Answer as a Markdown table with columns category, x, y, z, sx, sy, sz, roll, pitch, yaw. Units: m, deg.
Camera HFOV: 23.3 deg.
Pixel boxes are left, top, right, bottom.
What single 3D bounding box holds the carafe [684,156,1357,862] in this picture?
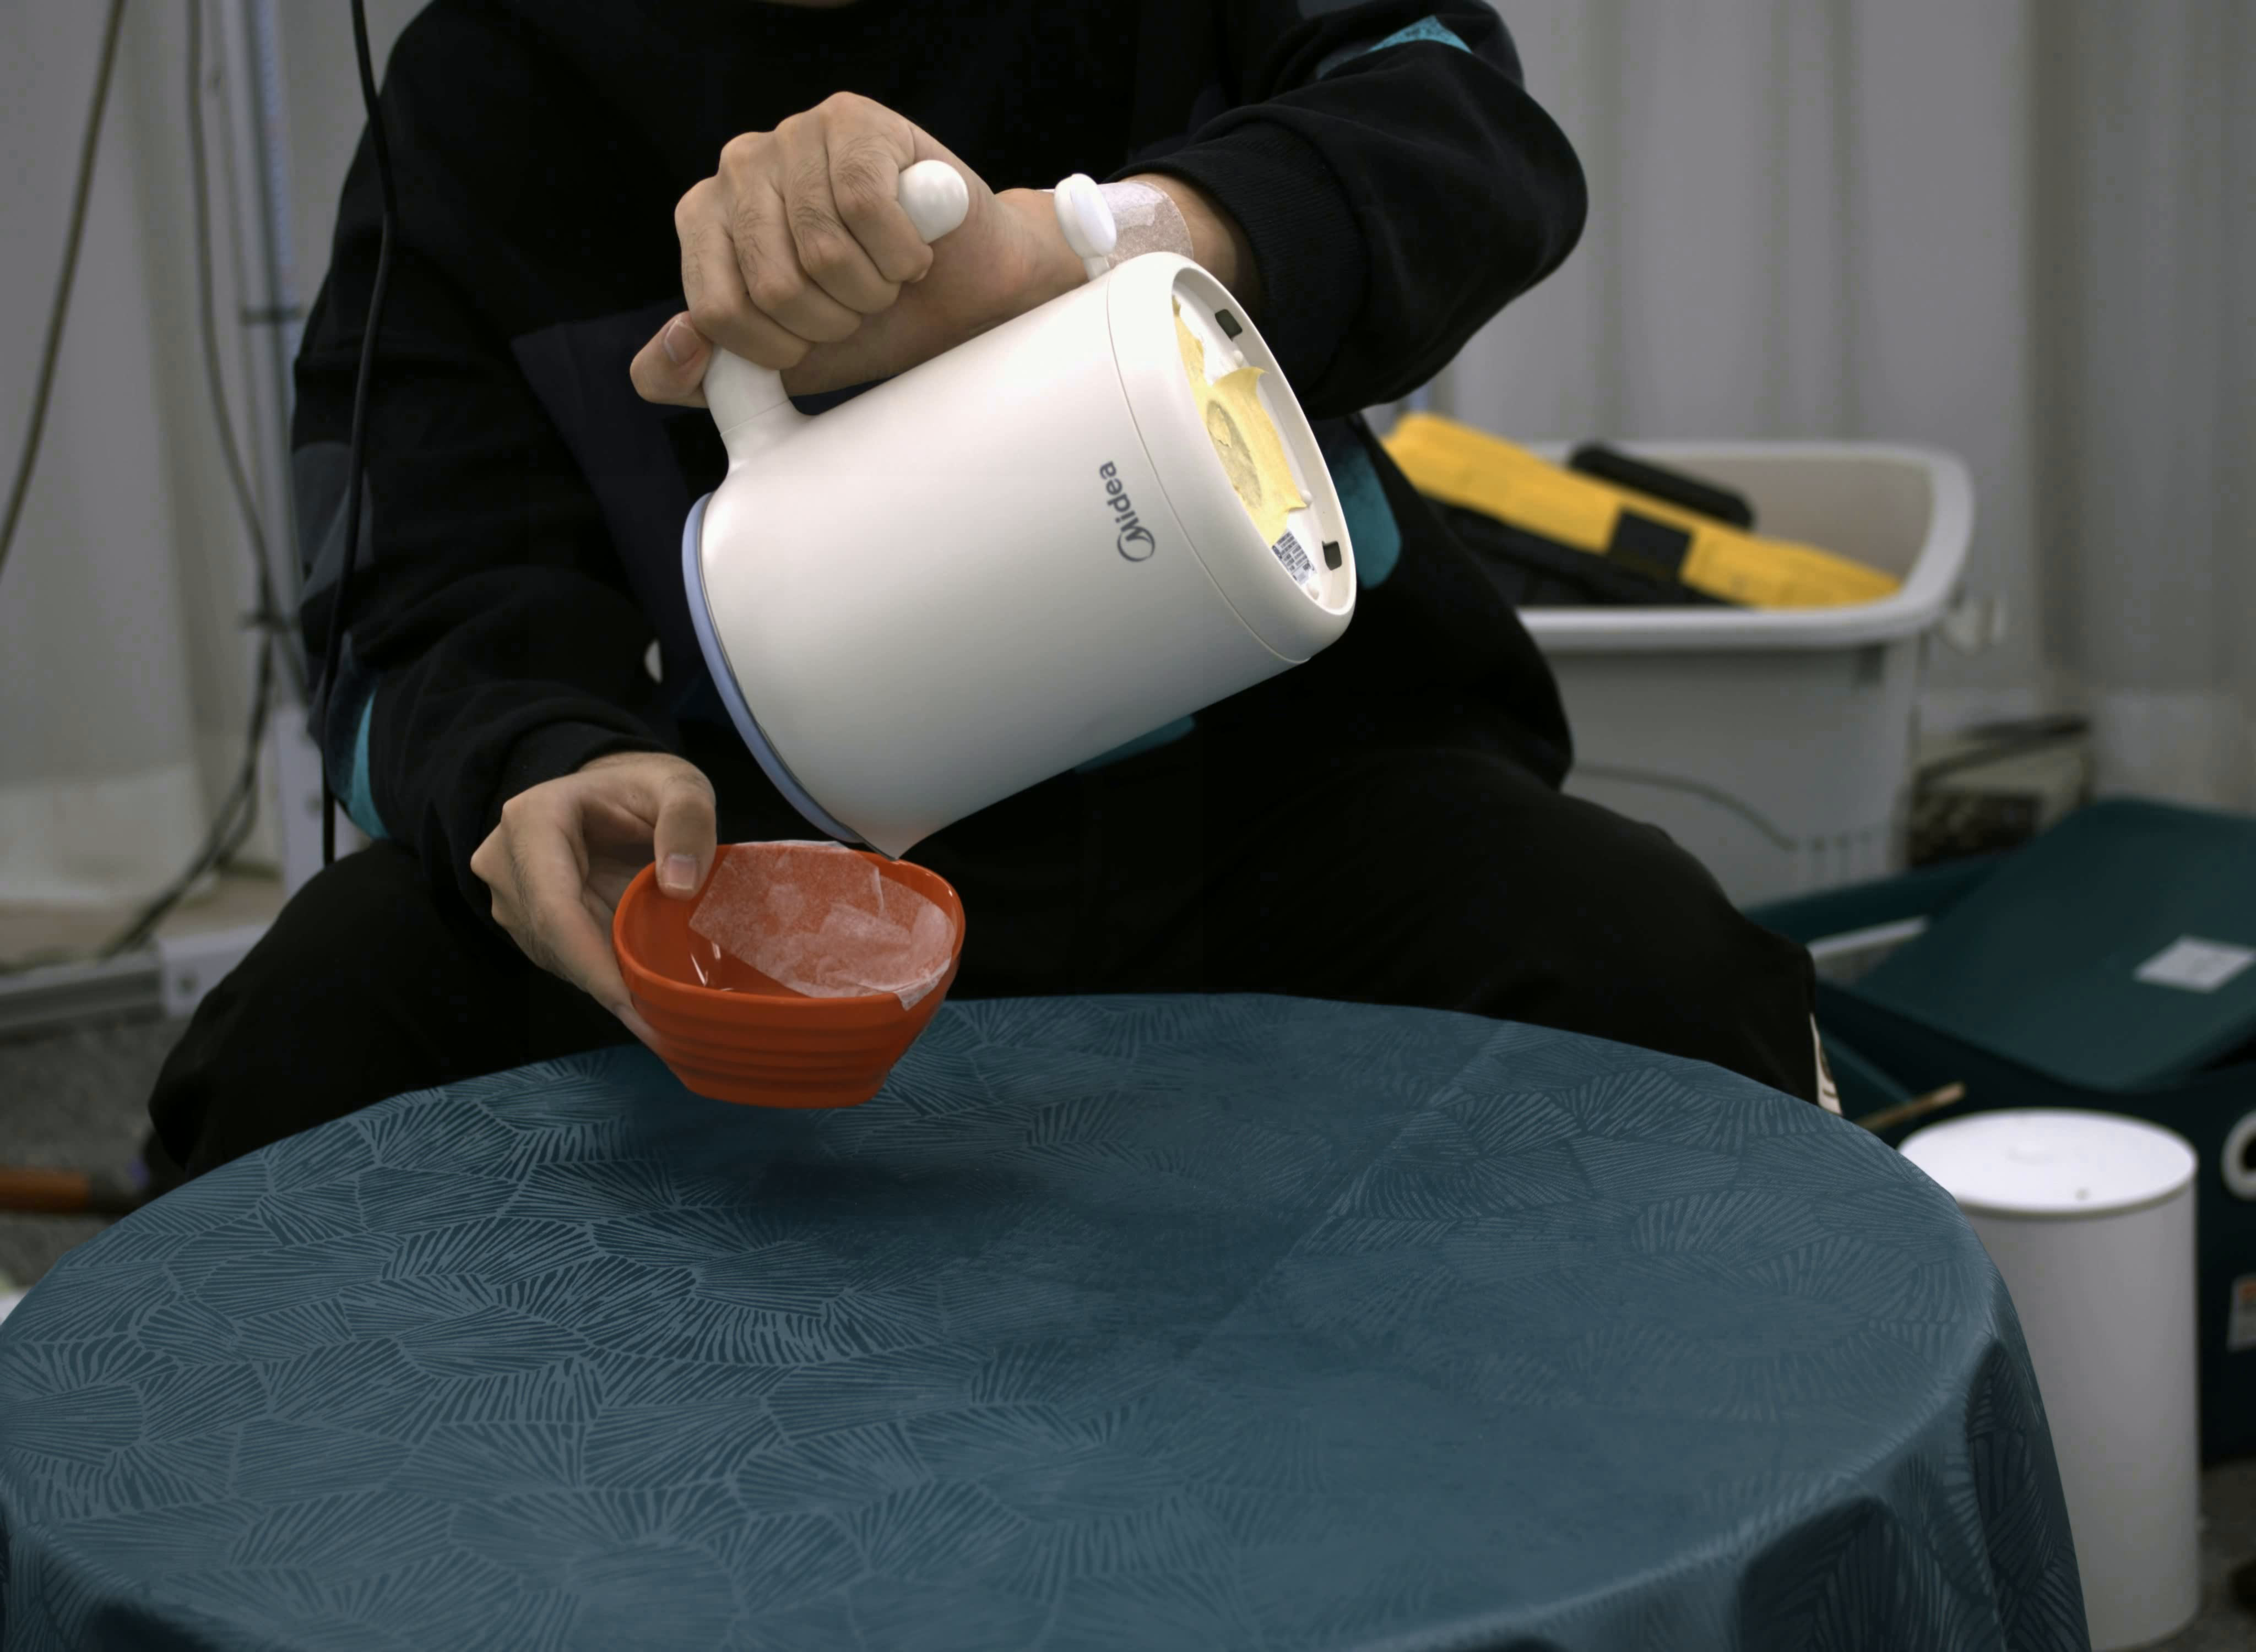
| category | x | y | z | sx | sy | sz | roll | pitch | yaw |
| --- | --- | --- | --- | --- | --- | --- | --- | --- | --- |
| carafe | -0.042 | -0.105 | 1.662 | 0.182 | 0.191 | 0.132 | -22 | 2 | 16 |

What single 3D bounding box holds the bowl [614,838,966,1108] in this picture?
| category | x | y | z | sx | sy | sz | roll | pitch | yaw |
| --- | --- | --- | --- | --- | --- | --- | --- | --- | --- |
| bowl | -0.106 | 0.050 | 1.723 | 0.118 | 0.051 | 0.120 | 1 | 27 | -1 |
